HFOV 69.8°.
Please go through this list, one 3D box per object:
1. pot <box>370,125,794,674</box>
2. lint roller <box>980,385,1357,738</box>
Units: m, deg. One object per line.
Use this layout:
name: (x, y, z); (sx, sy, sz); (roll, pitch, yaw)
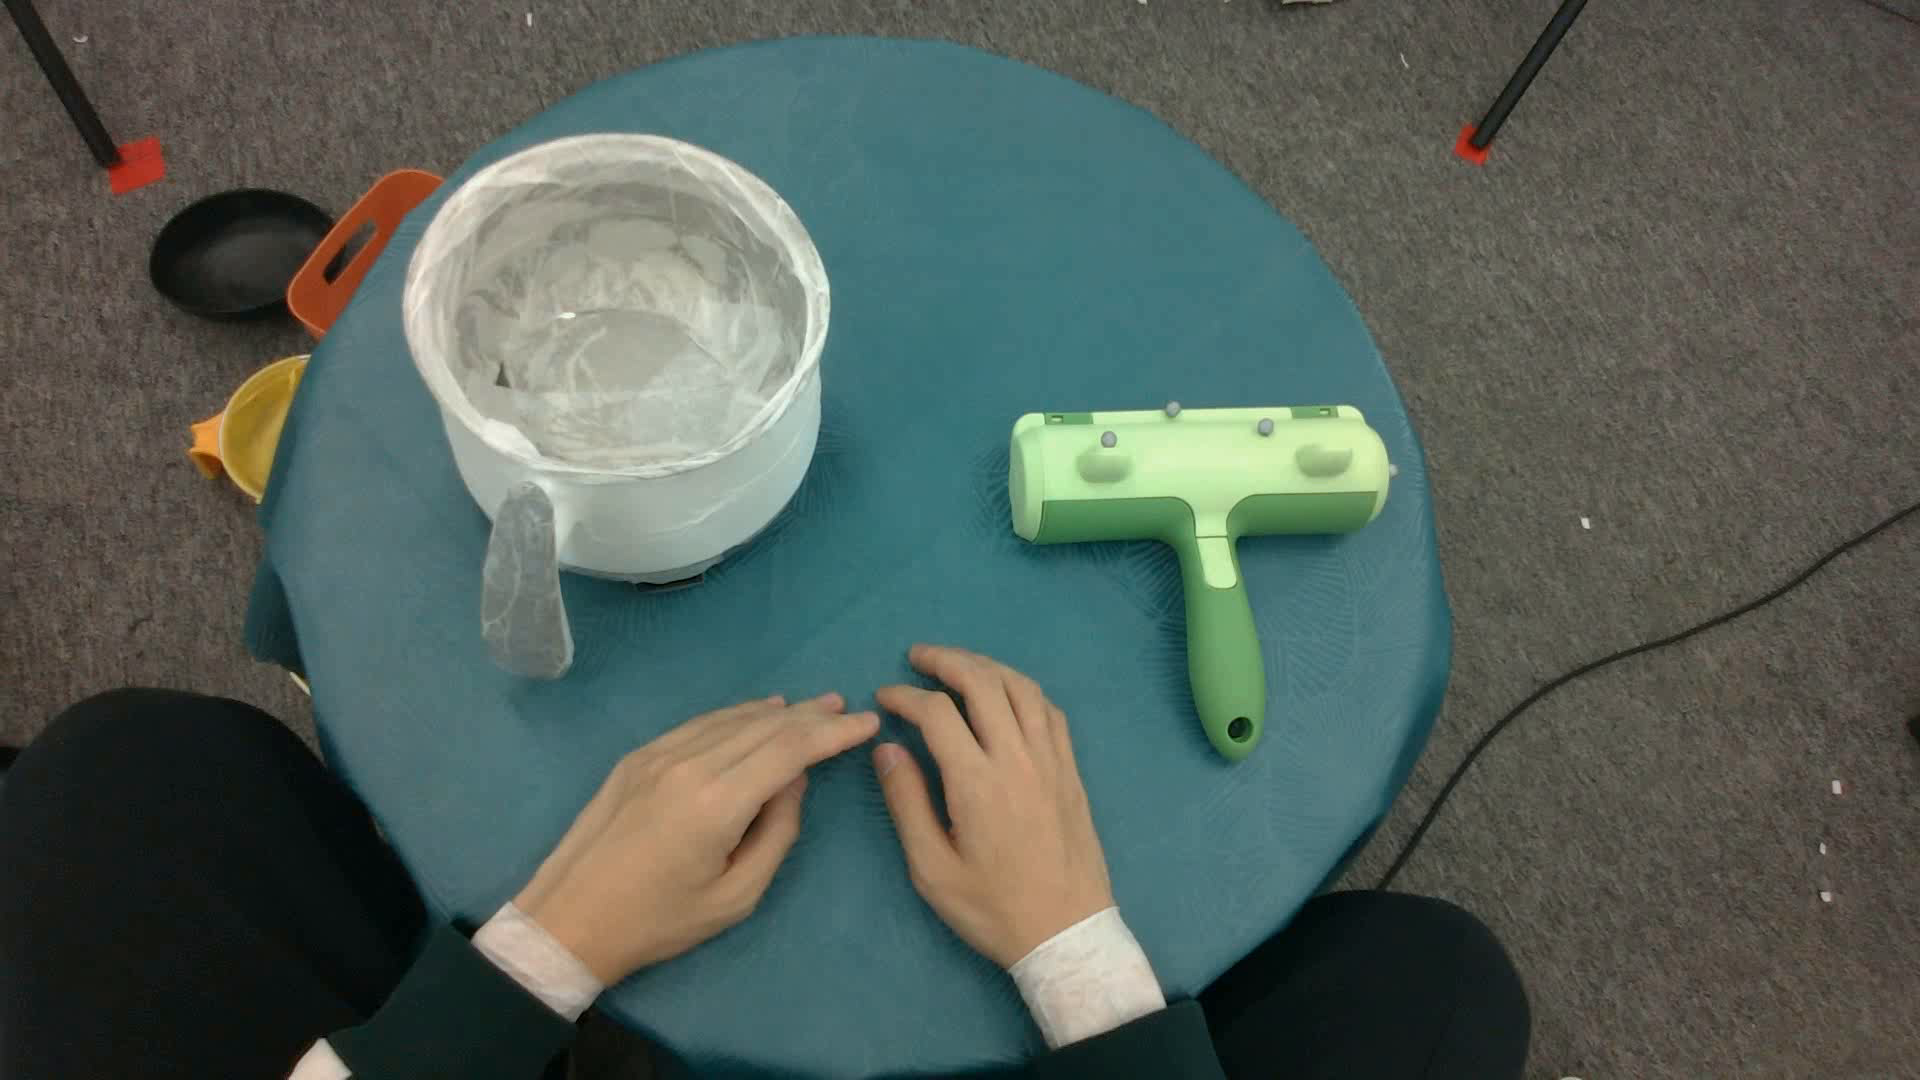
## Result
pot: (-0.175, -0.059, 0.637); (0.179, 0.136, 0.234); (15, 63, -2)
lint roller: (0.118, 0.002, 0.693); (0.199, 0.082, 0.184); (-3, 61, -11)
